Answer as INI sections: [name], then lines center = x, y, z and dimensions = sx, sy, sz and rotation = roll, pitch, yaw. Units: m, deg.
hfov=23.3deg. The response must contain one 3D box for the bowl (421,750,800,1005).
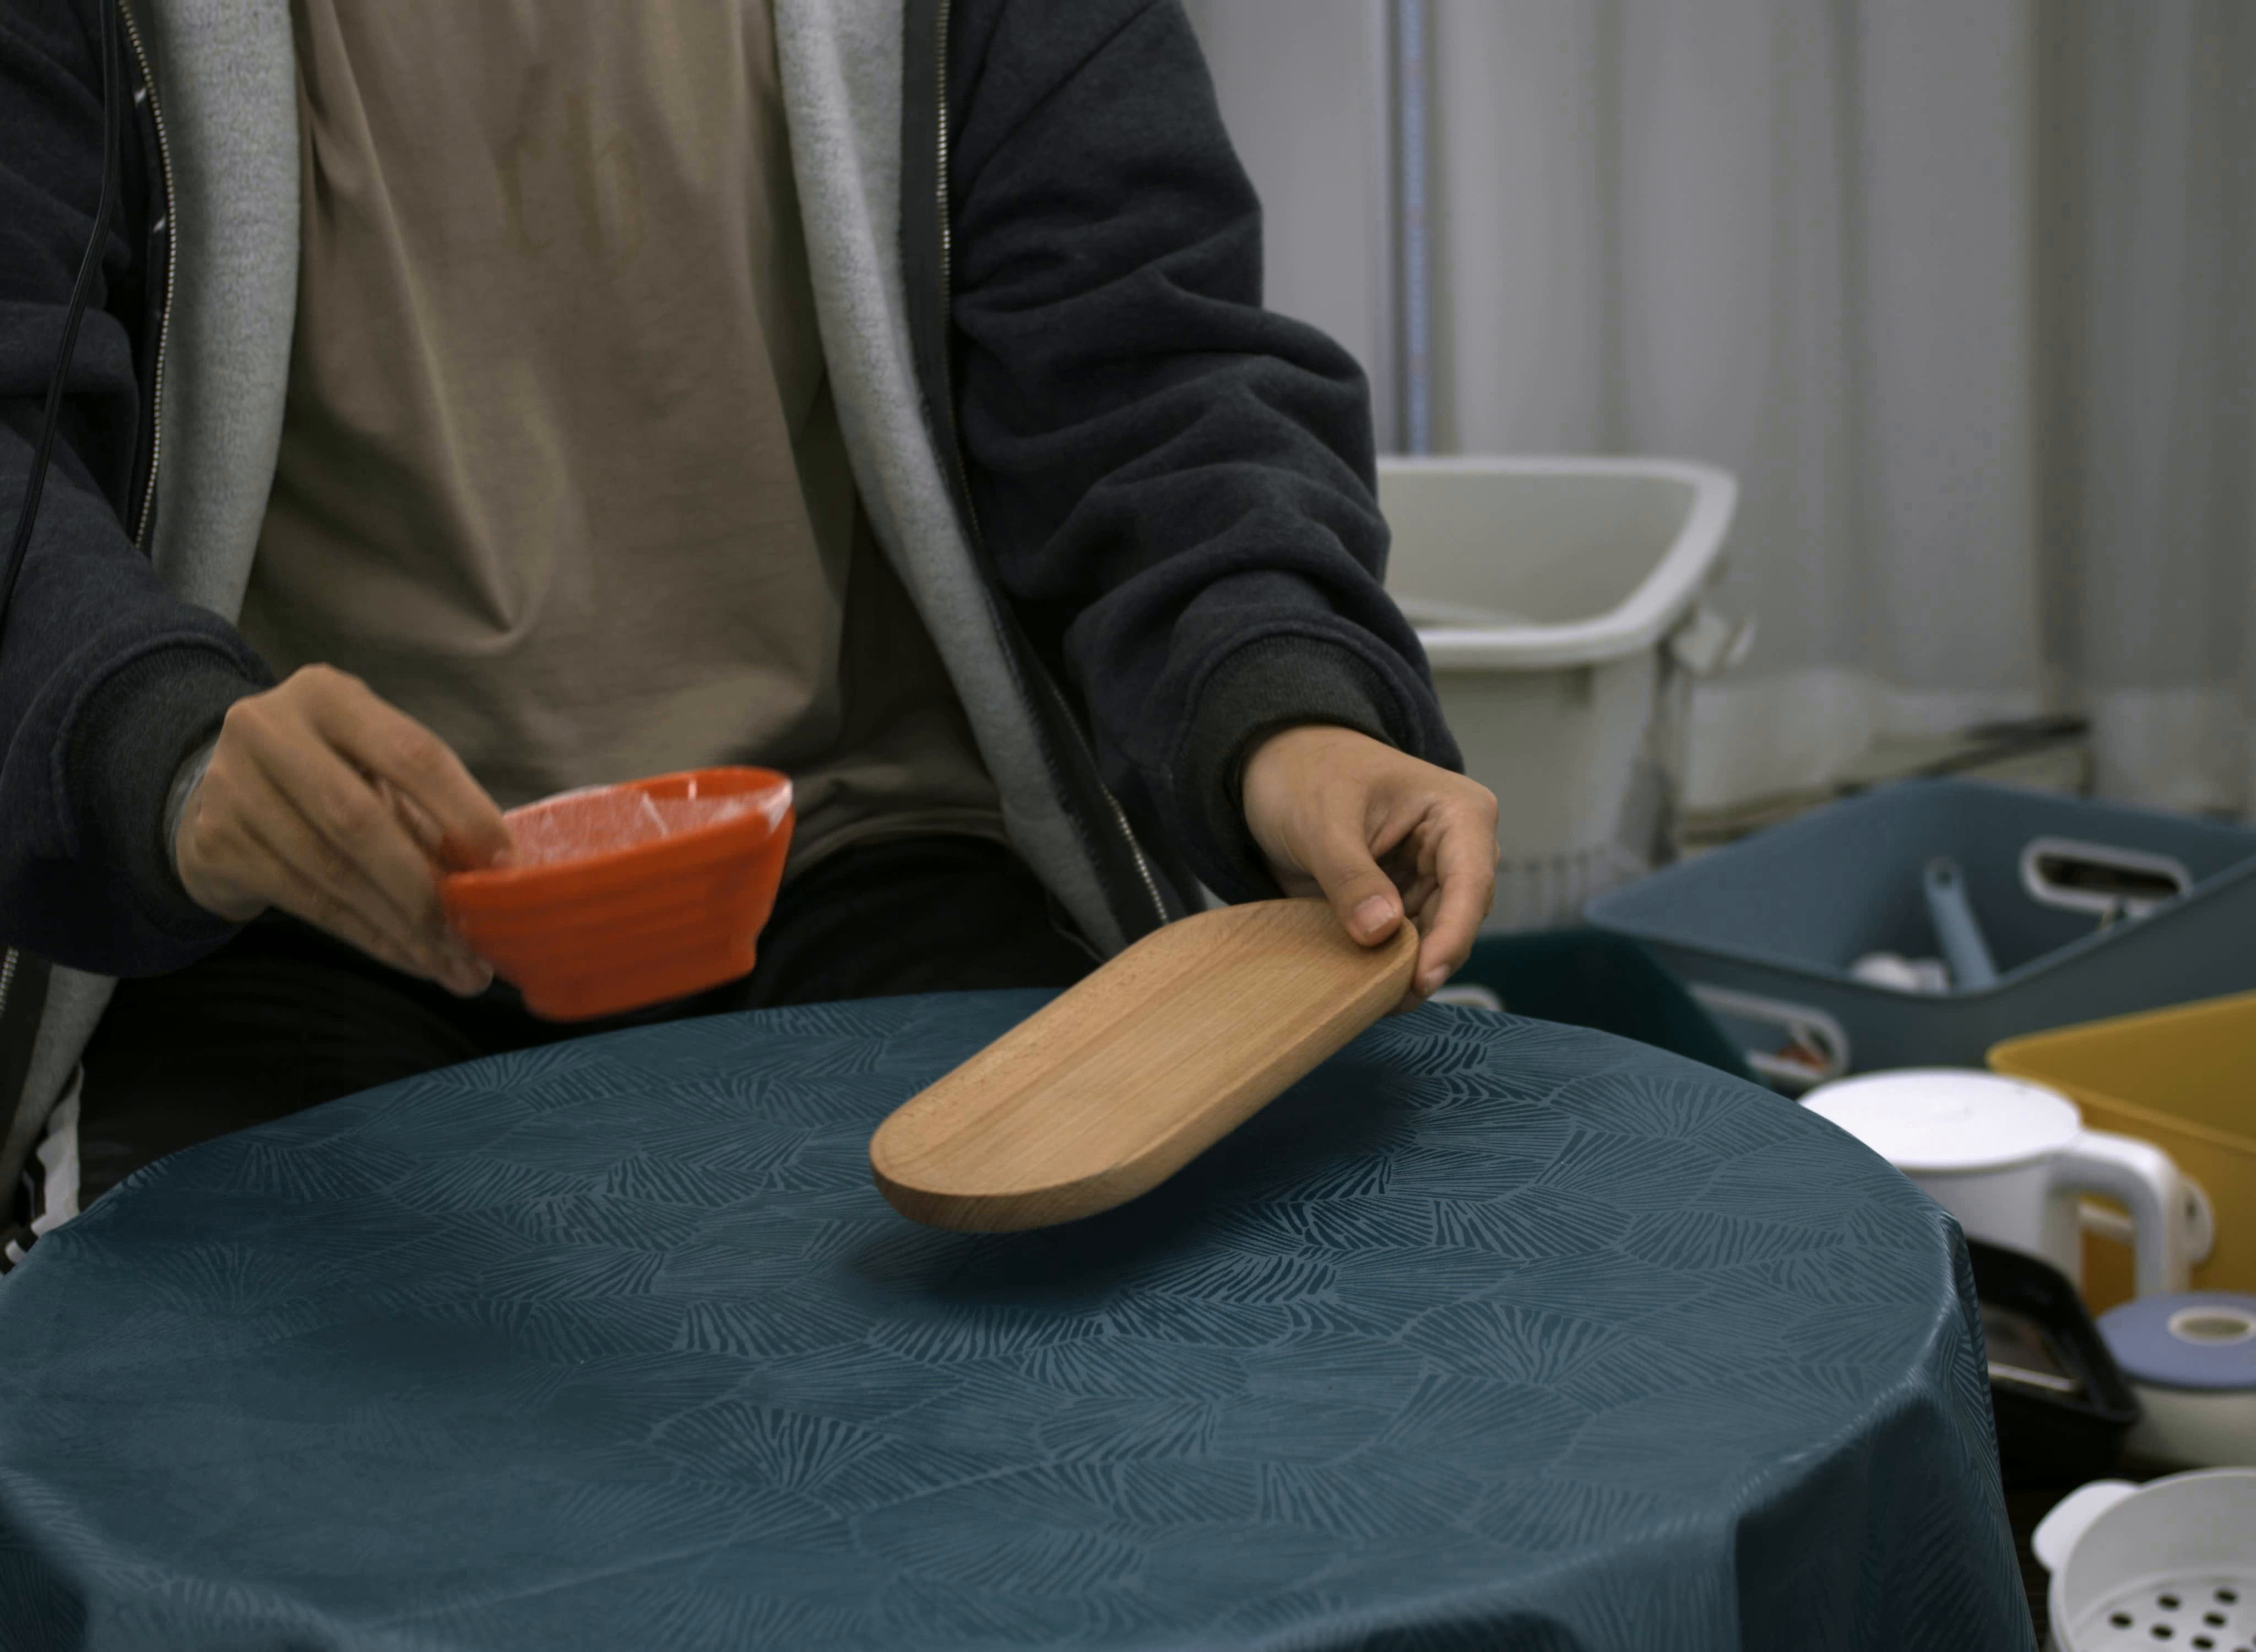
[bowl]
center = -0.146, 0.017, 1.598
dimensions = 0.118, 0.051, 0.119
rotation = -12, 11, 2

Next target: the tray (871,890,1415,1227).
[tray]
center = 0.008, 0.070, 1.707
dimensions = 0.102, 0.020, 0.232
rotation = 5, 23, 33
